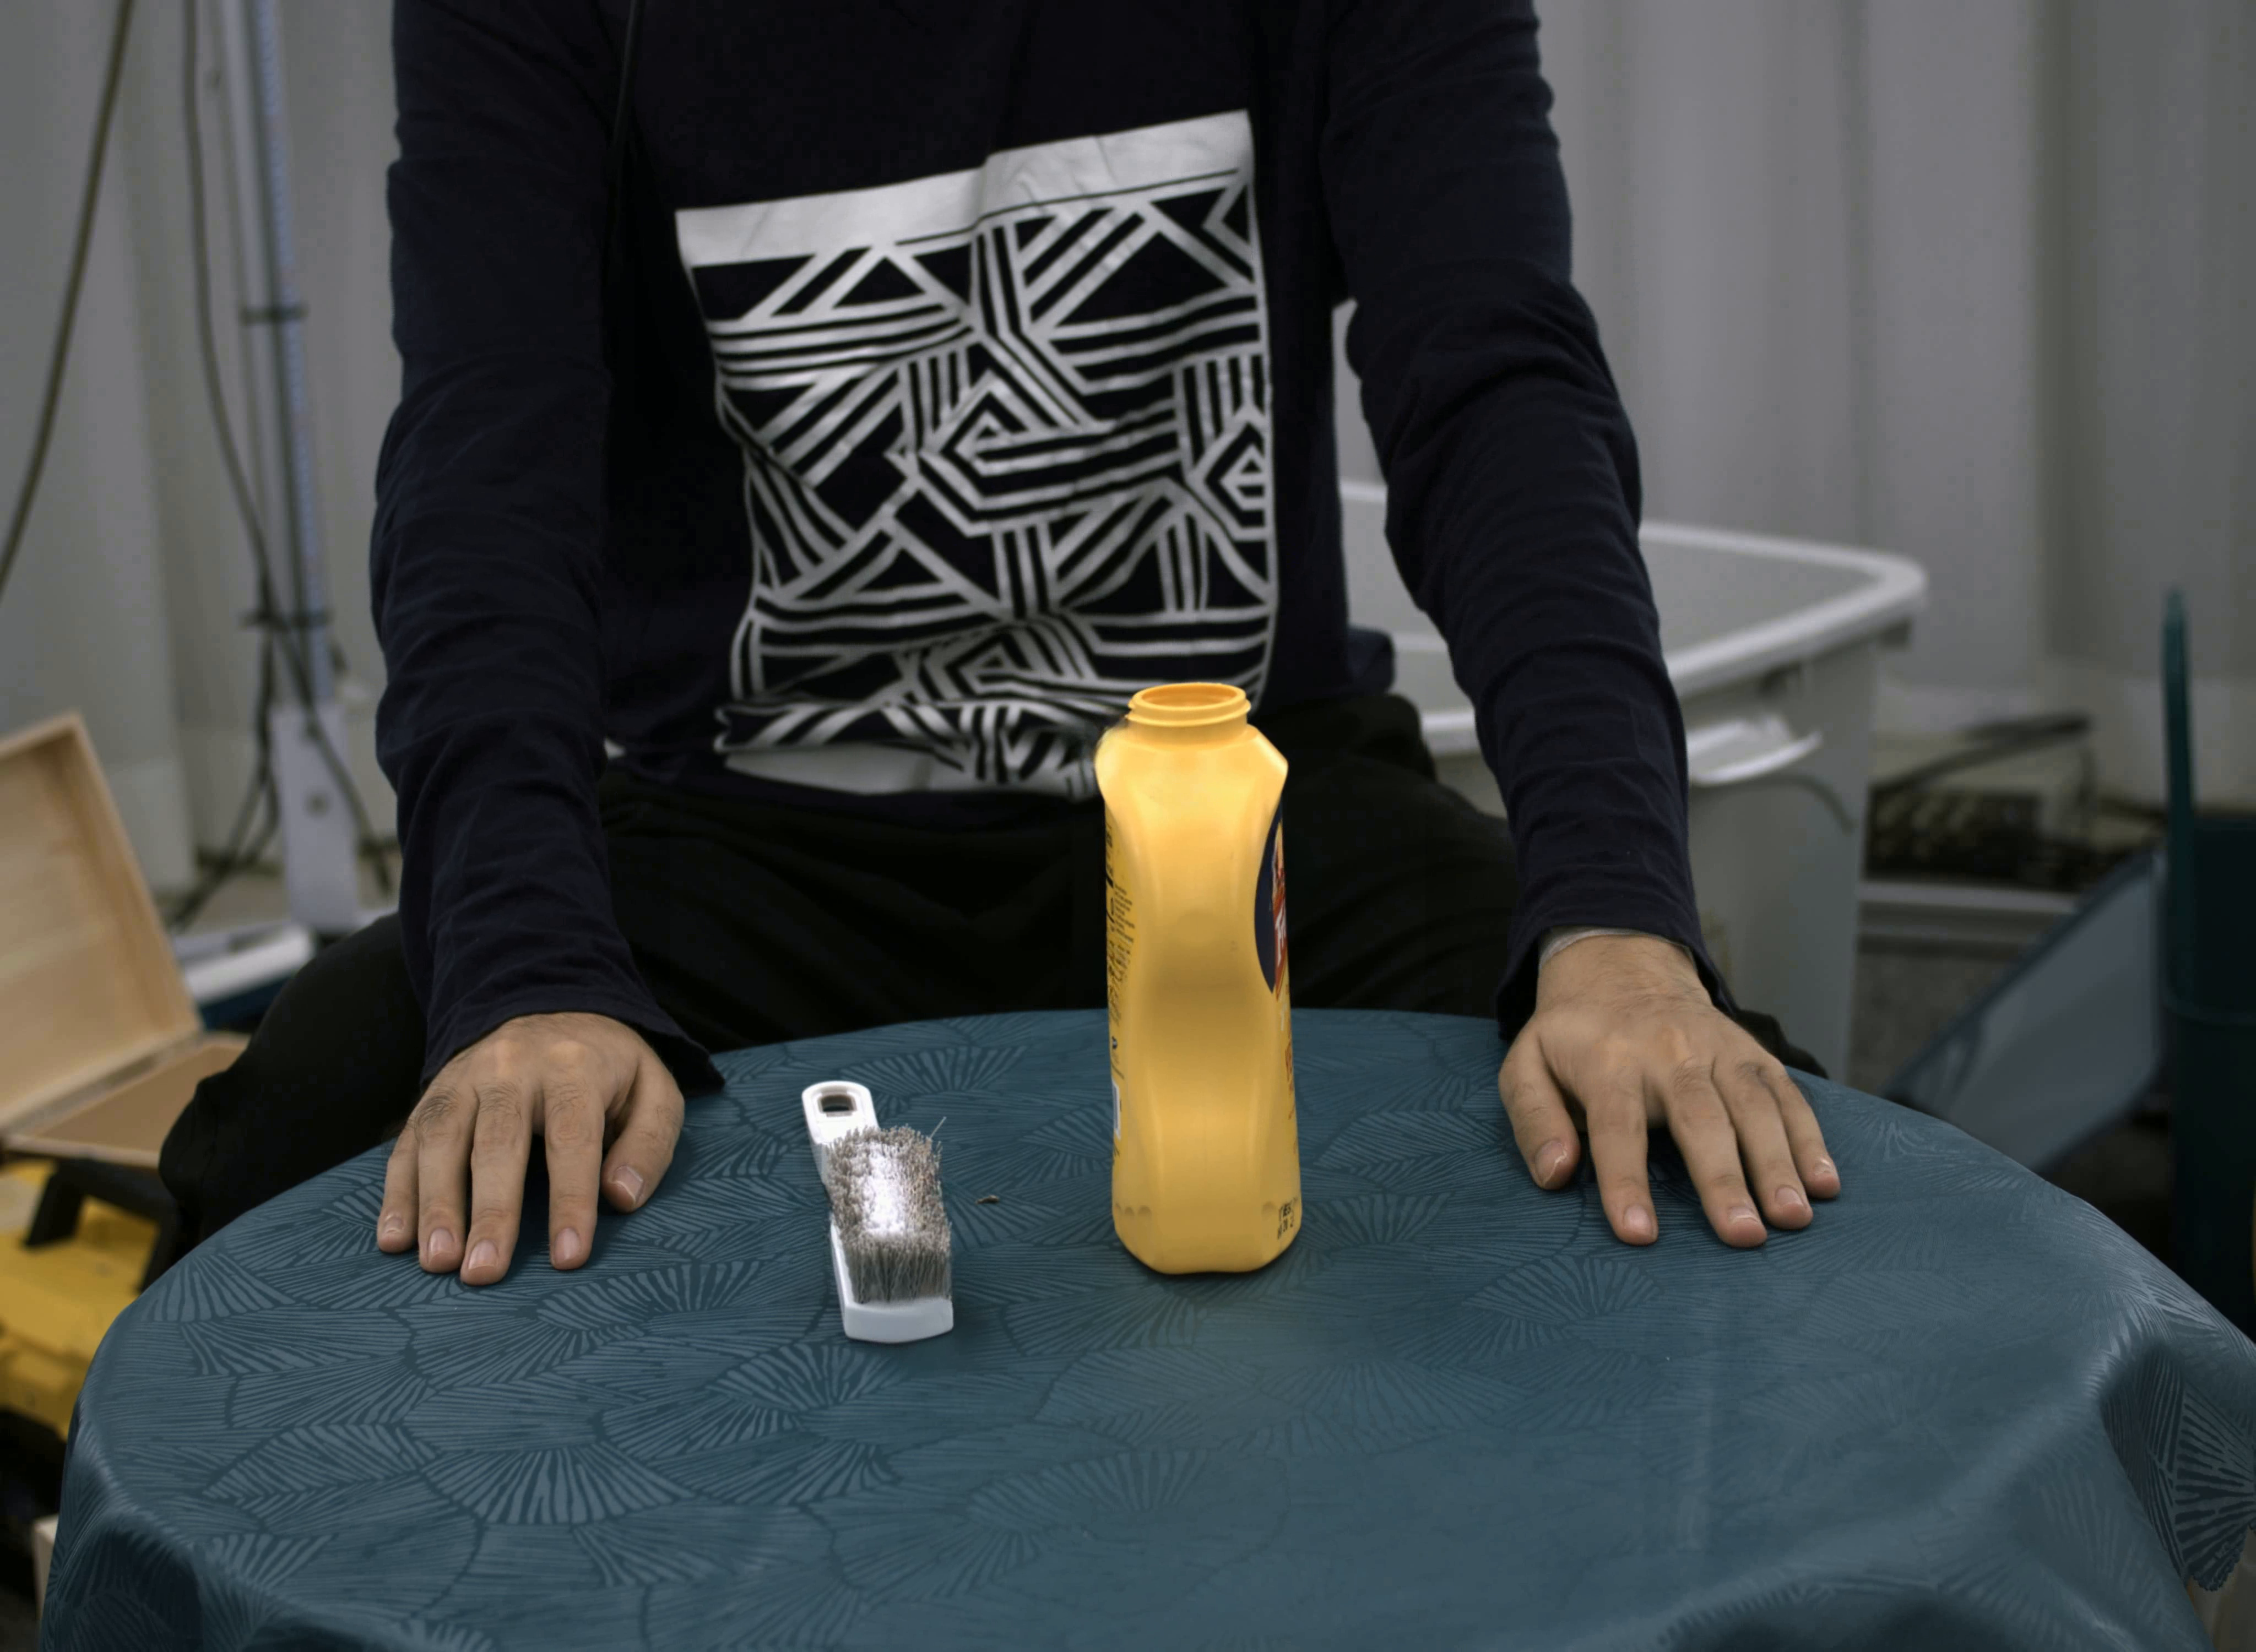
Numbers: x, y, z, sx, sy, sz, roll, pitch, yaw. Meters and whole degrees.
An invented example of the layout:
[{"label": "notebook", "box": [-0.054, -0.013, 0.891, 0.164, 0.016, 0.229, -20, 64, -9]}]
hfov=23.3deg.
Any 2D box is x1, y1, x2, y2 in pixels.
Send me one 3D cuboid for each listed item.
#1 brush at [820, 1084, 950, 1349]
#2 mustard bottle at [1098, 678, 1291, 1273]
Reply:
[{"label": "brush", "box": [-0.079, 0.101, 1.693, 0.034, 0.050, 0.245, -8, 15, -3]}, {"label": "mustard bottle", "box": [0.020, 0.042, 1.655, 0.059, 0.171, 0.099, -1, 12, -4]}]
